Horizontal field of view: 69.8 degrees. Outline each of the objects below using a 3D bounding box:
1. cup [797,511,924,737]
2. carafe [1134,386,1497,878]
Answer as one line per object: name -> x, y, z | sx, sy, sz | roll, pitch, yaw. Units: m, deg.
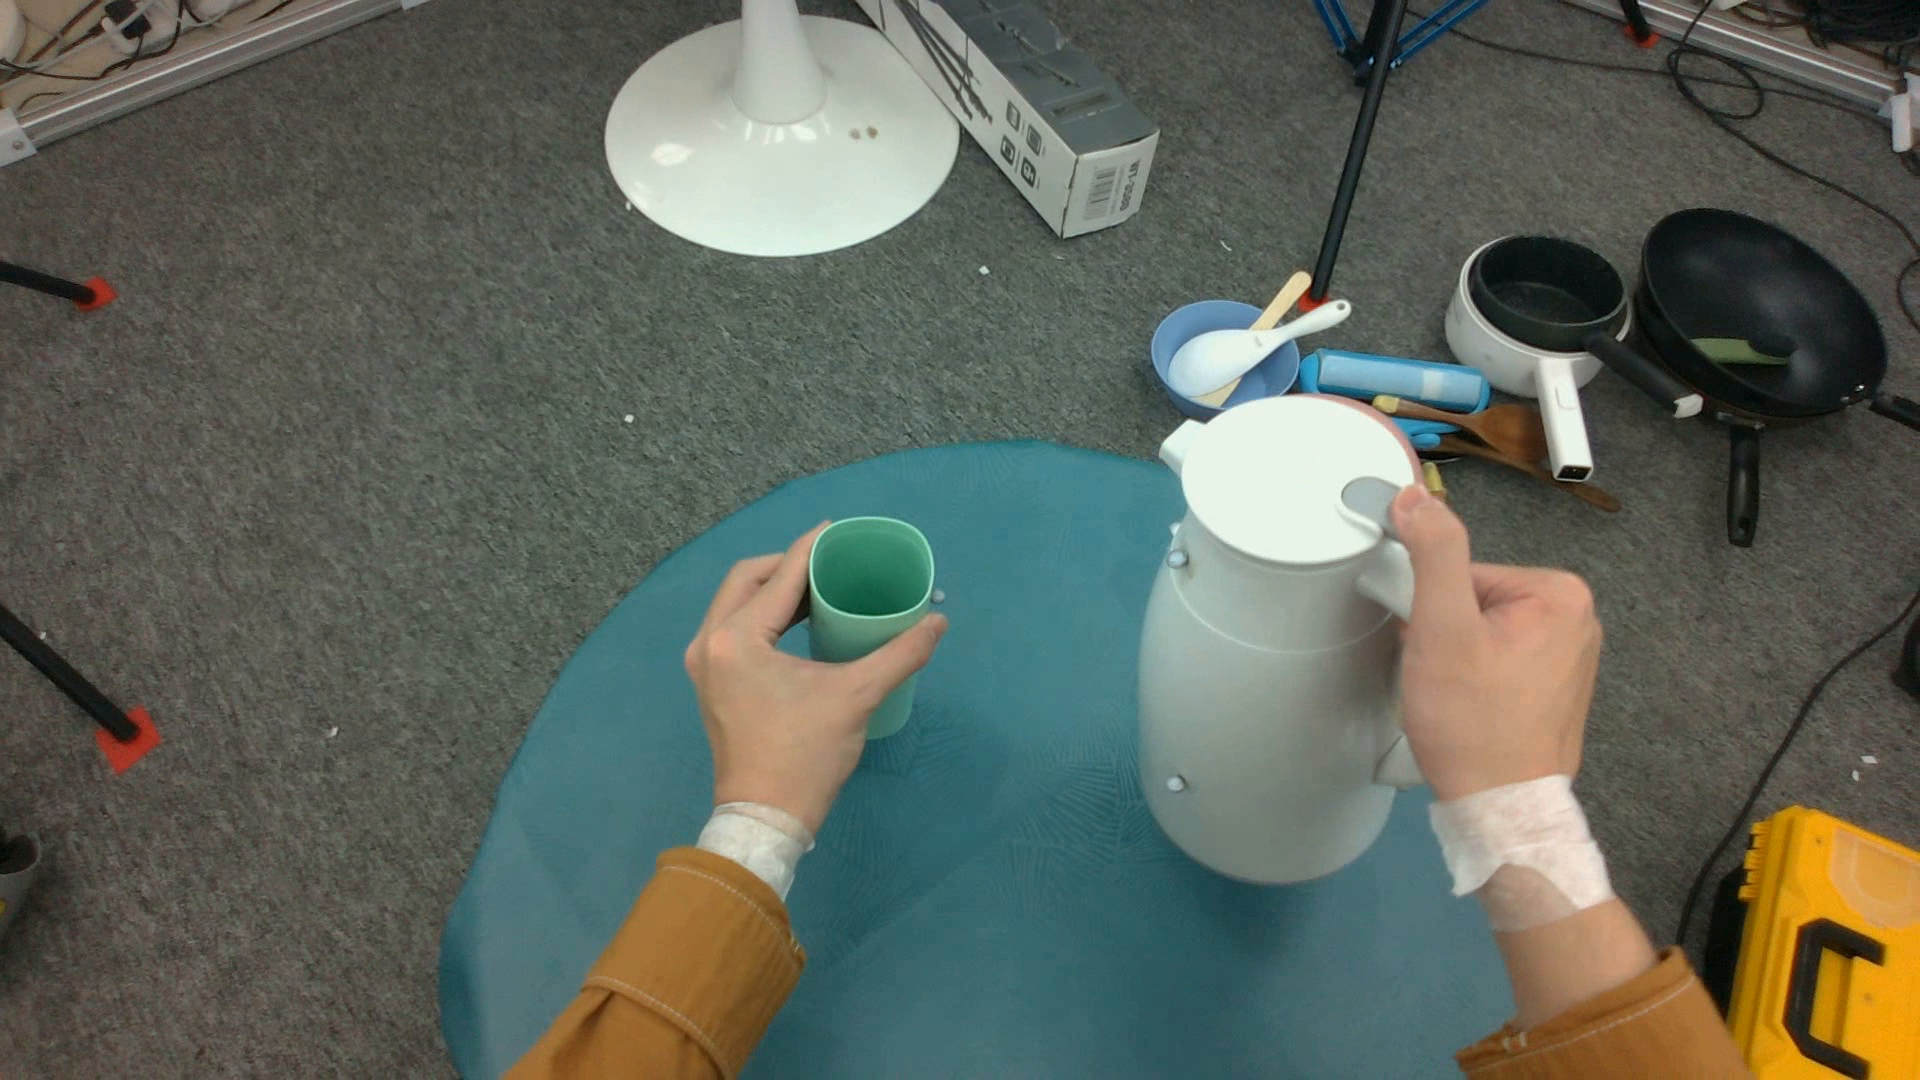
cup -> -0.056, 0.049, 0.740 | 0.067, 0.131, 0.067 | 4, 53, -5
carafe -> 0.161, 0.051, 0.637 | 0.168, 0.247, 0.133 | 32, 61, 29
